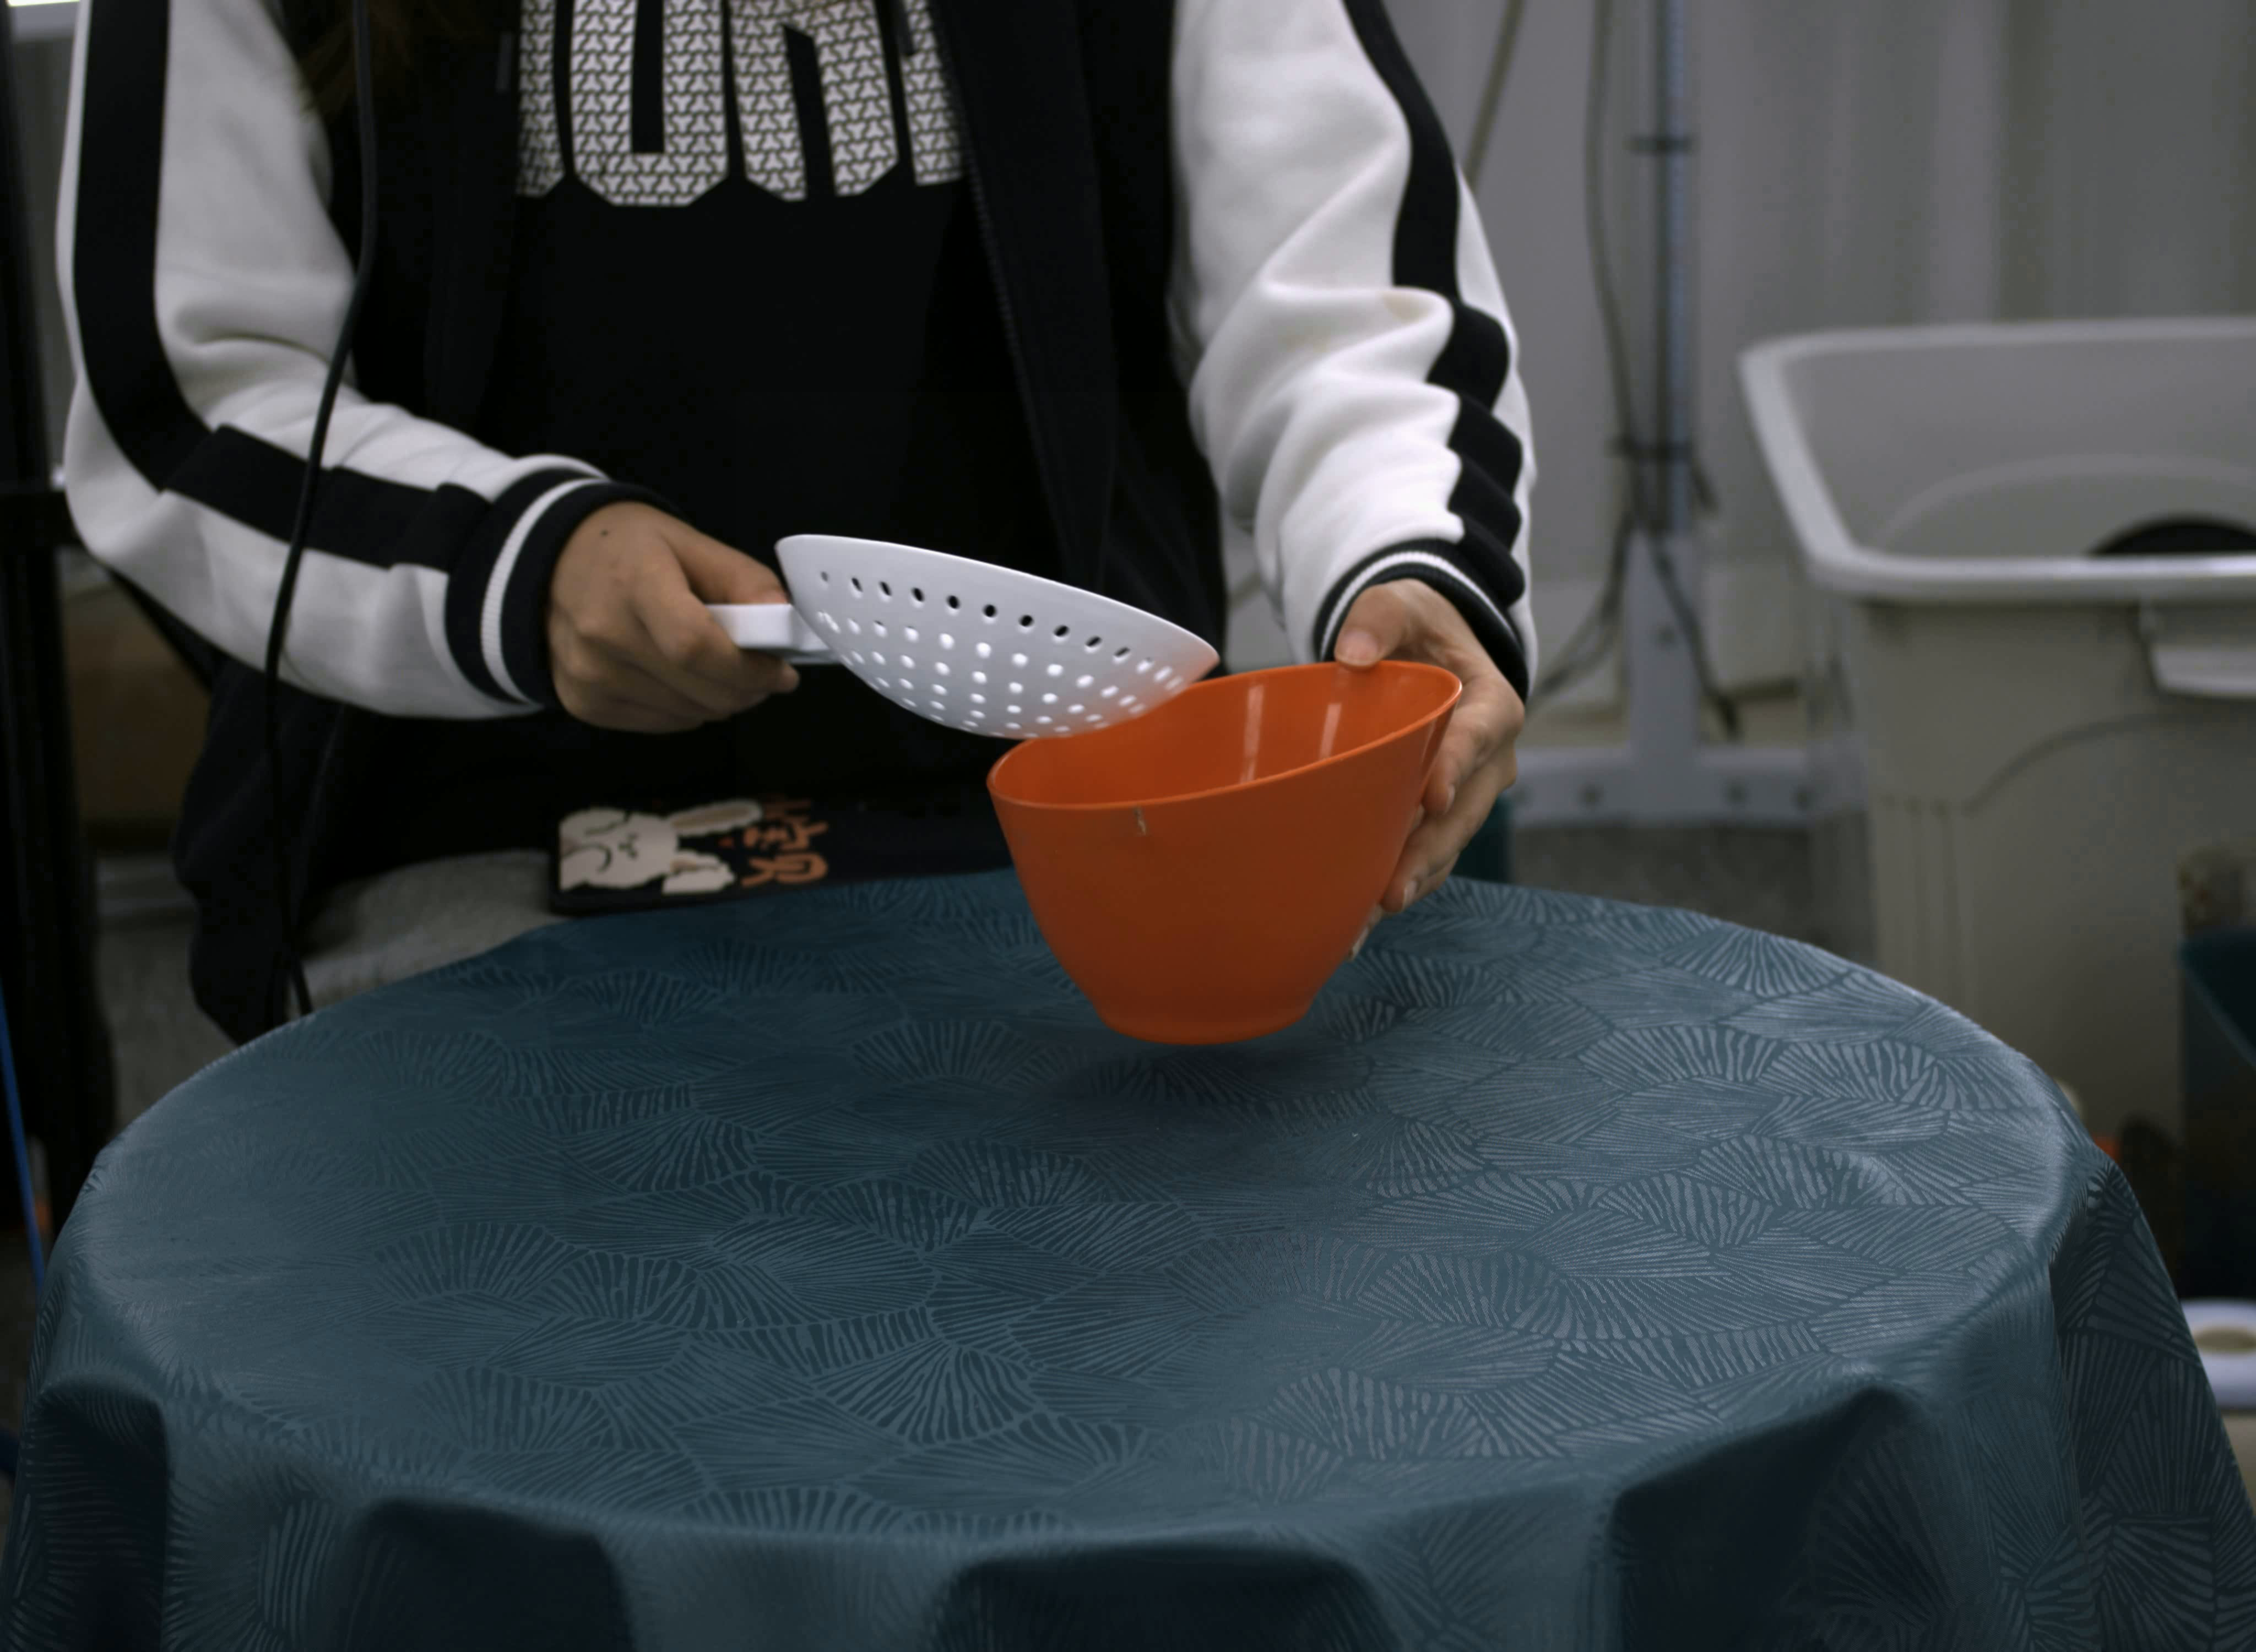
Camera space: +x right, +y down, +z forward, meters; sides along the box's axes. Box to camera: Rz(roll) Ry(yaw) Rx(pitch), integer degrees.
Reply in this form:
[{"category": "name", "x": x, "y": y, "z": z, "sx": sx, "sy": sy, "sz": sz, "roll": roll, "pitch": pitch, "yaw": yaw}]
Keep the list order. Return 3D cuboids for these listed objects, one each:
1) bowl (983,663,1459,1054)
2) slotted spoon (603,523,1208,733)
[{"category": "bowl", "x": 0.030, "y": 0.012, "z": 1.637, "sx": 0.147, "sy": 0.104, "sz": 0.149, "roll": -5, "pitch": 19, "yaw": 0}, {"category": "slotted spoon", "x": -0.093, "y": -0.064, "z": 1.689, "sx": 0.133, "sy": 0.046, "sz": 0.356, "roll": 18, "pitch": -2, "yaw": -26}]
